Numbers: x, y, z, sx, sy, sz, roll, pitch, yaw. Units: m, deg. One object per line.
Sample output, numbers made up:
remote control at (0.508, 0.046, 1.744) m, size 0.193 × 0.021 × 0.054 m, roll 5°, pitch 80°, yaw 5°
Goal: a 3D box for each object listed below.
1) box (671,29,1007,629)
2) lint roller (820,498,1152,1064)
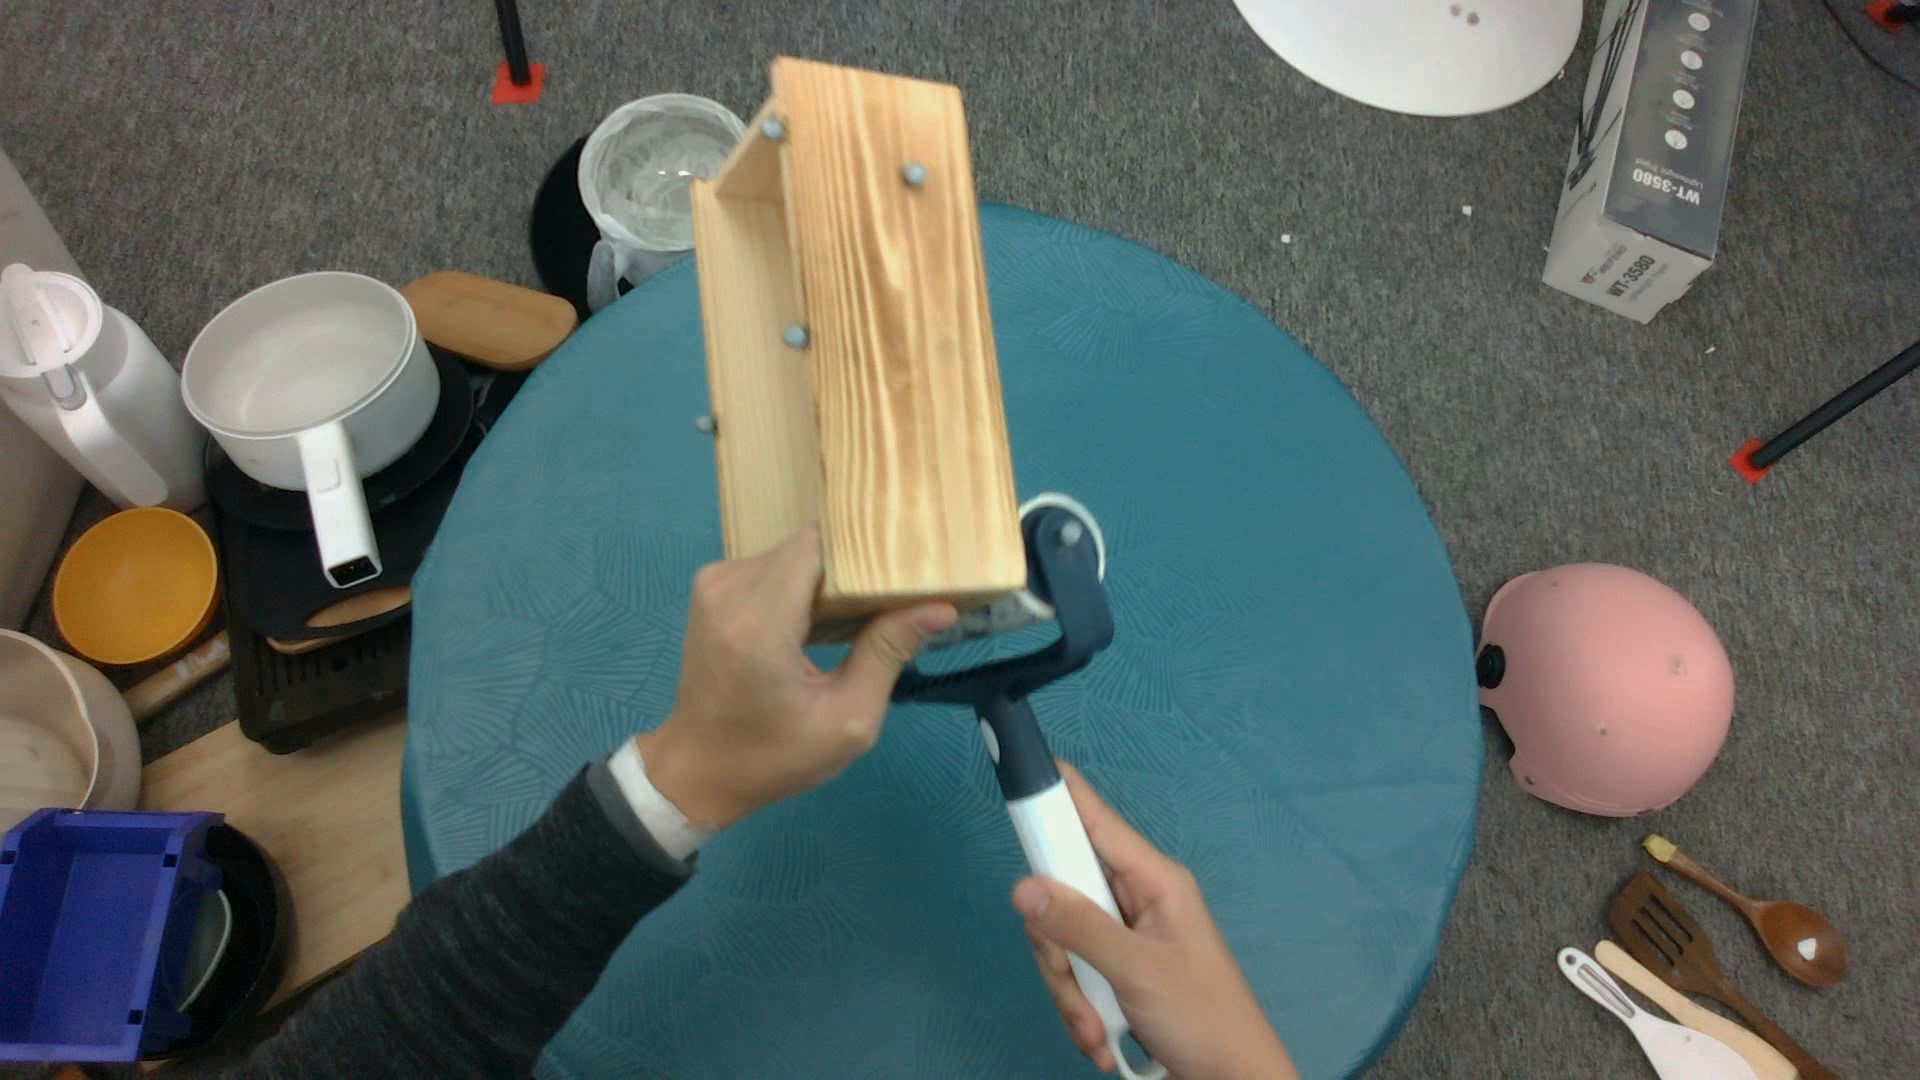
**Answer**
box at (-0.055, -0.079, 0.558) m, size 0.080 × 0.107 × 0.212 m, roll -1°, pitch 74°, yaw -30°
lint roller at (0.032, 0.112, 0.609) m, size 0.050 × 0.175 × 0.247 m, roll -26°, pitch 93°, yaw -32°
